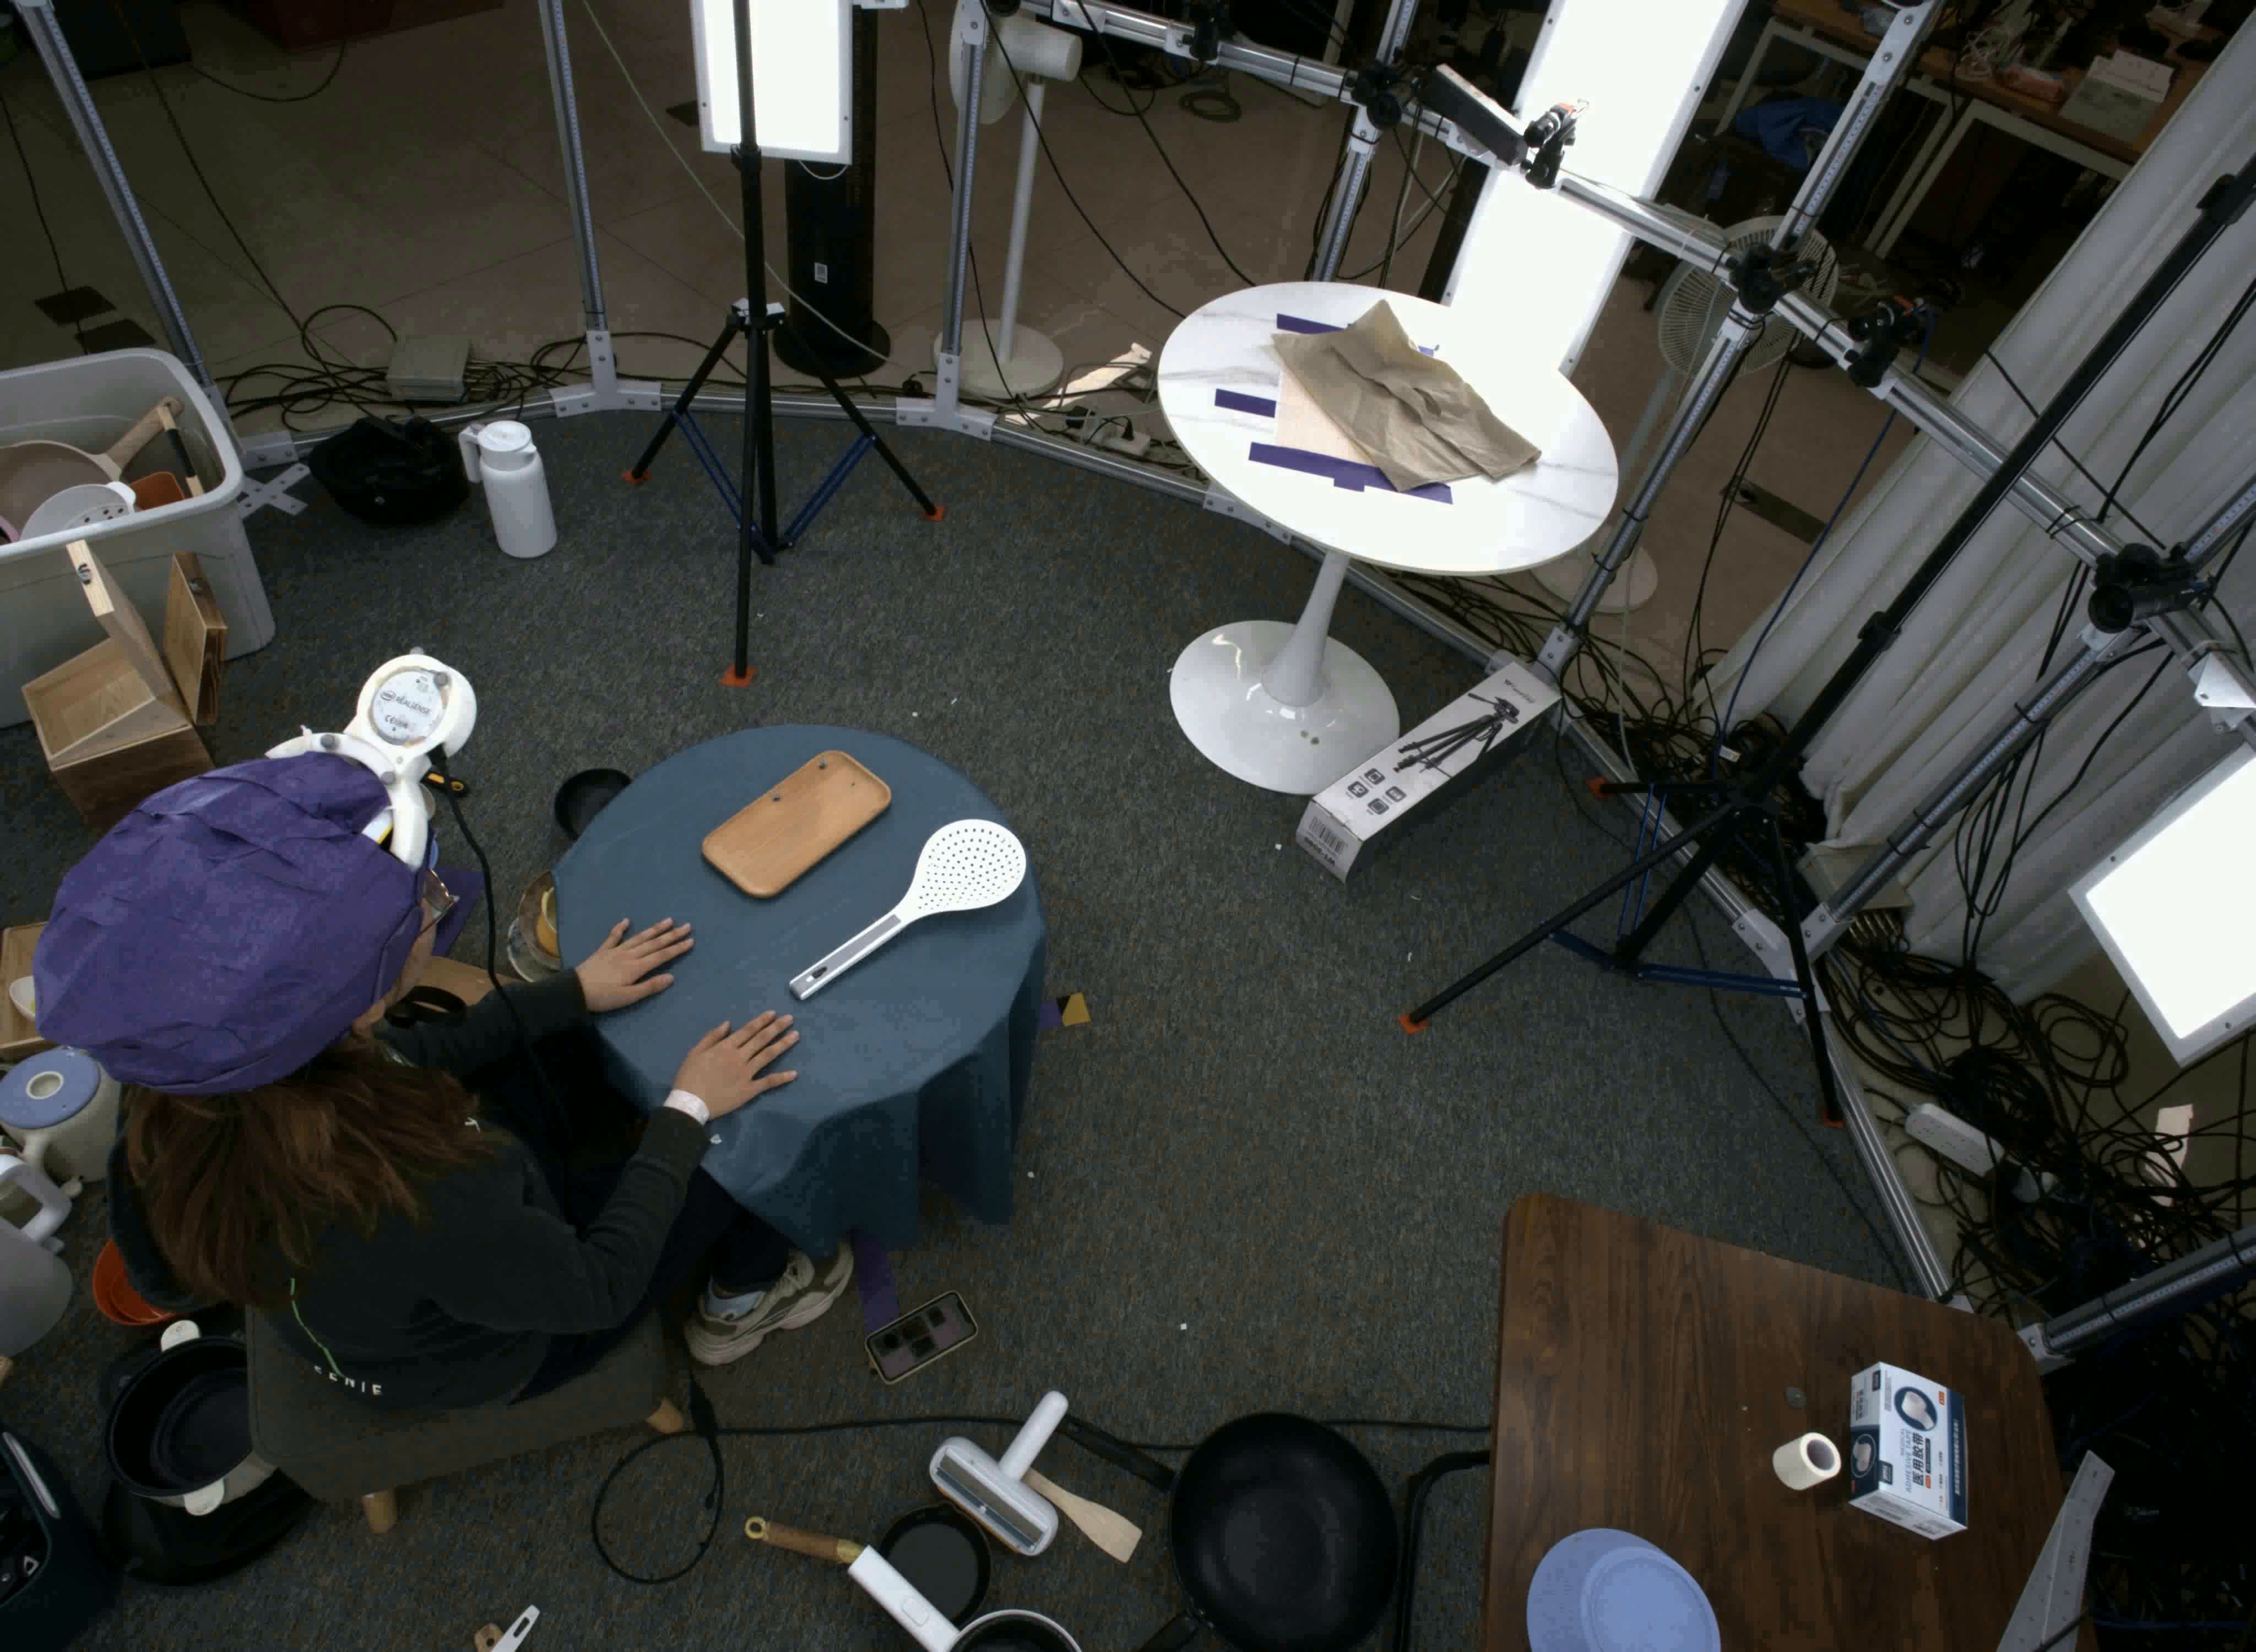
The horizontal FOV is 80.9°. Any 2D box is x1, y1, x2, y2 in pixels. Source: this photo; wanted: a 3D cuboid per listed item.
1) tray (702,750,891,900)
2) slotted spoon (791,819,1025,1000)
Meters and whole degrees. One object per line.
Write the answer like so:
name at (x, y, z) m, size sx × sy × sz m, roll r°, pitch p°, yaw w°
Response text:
tray at (-0.437, -0.005, 1.719) m, size 0.128 × 0.023 × 0.250 m, roll 36°, pitch 54°, yaw 15°
slotted spoon at (-0.280, 0.107, 1.657) m, size 0.132 × 0.047 × 0.350 m, roll 42°, pitch 56°, yaw 20°
